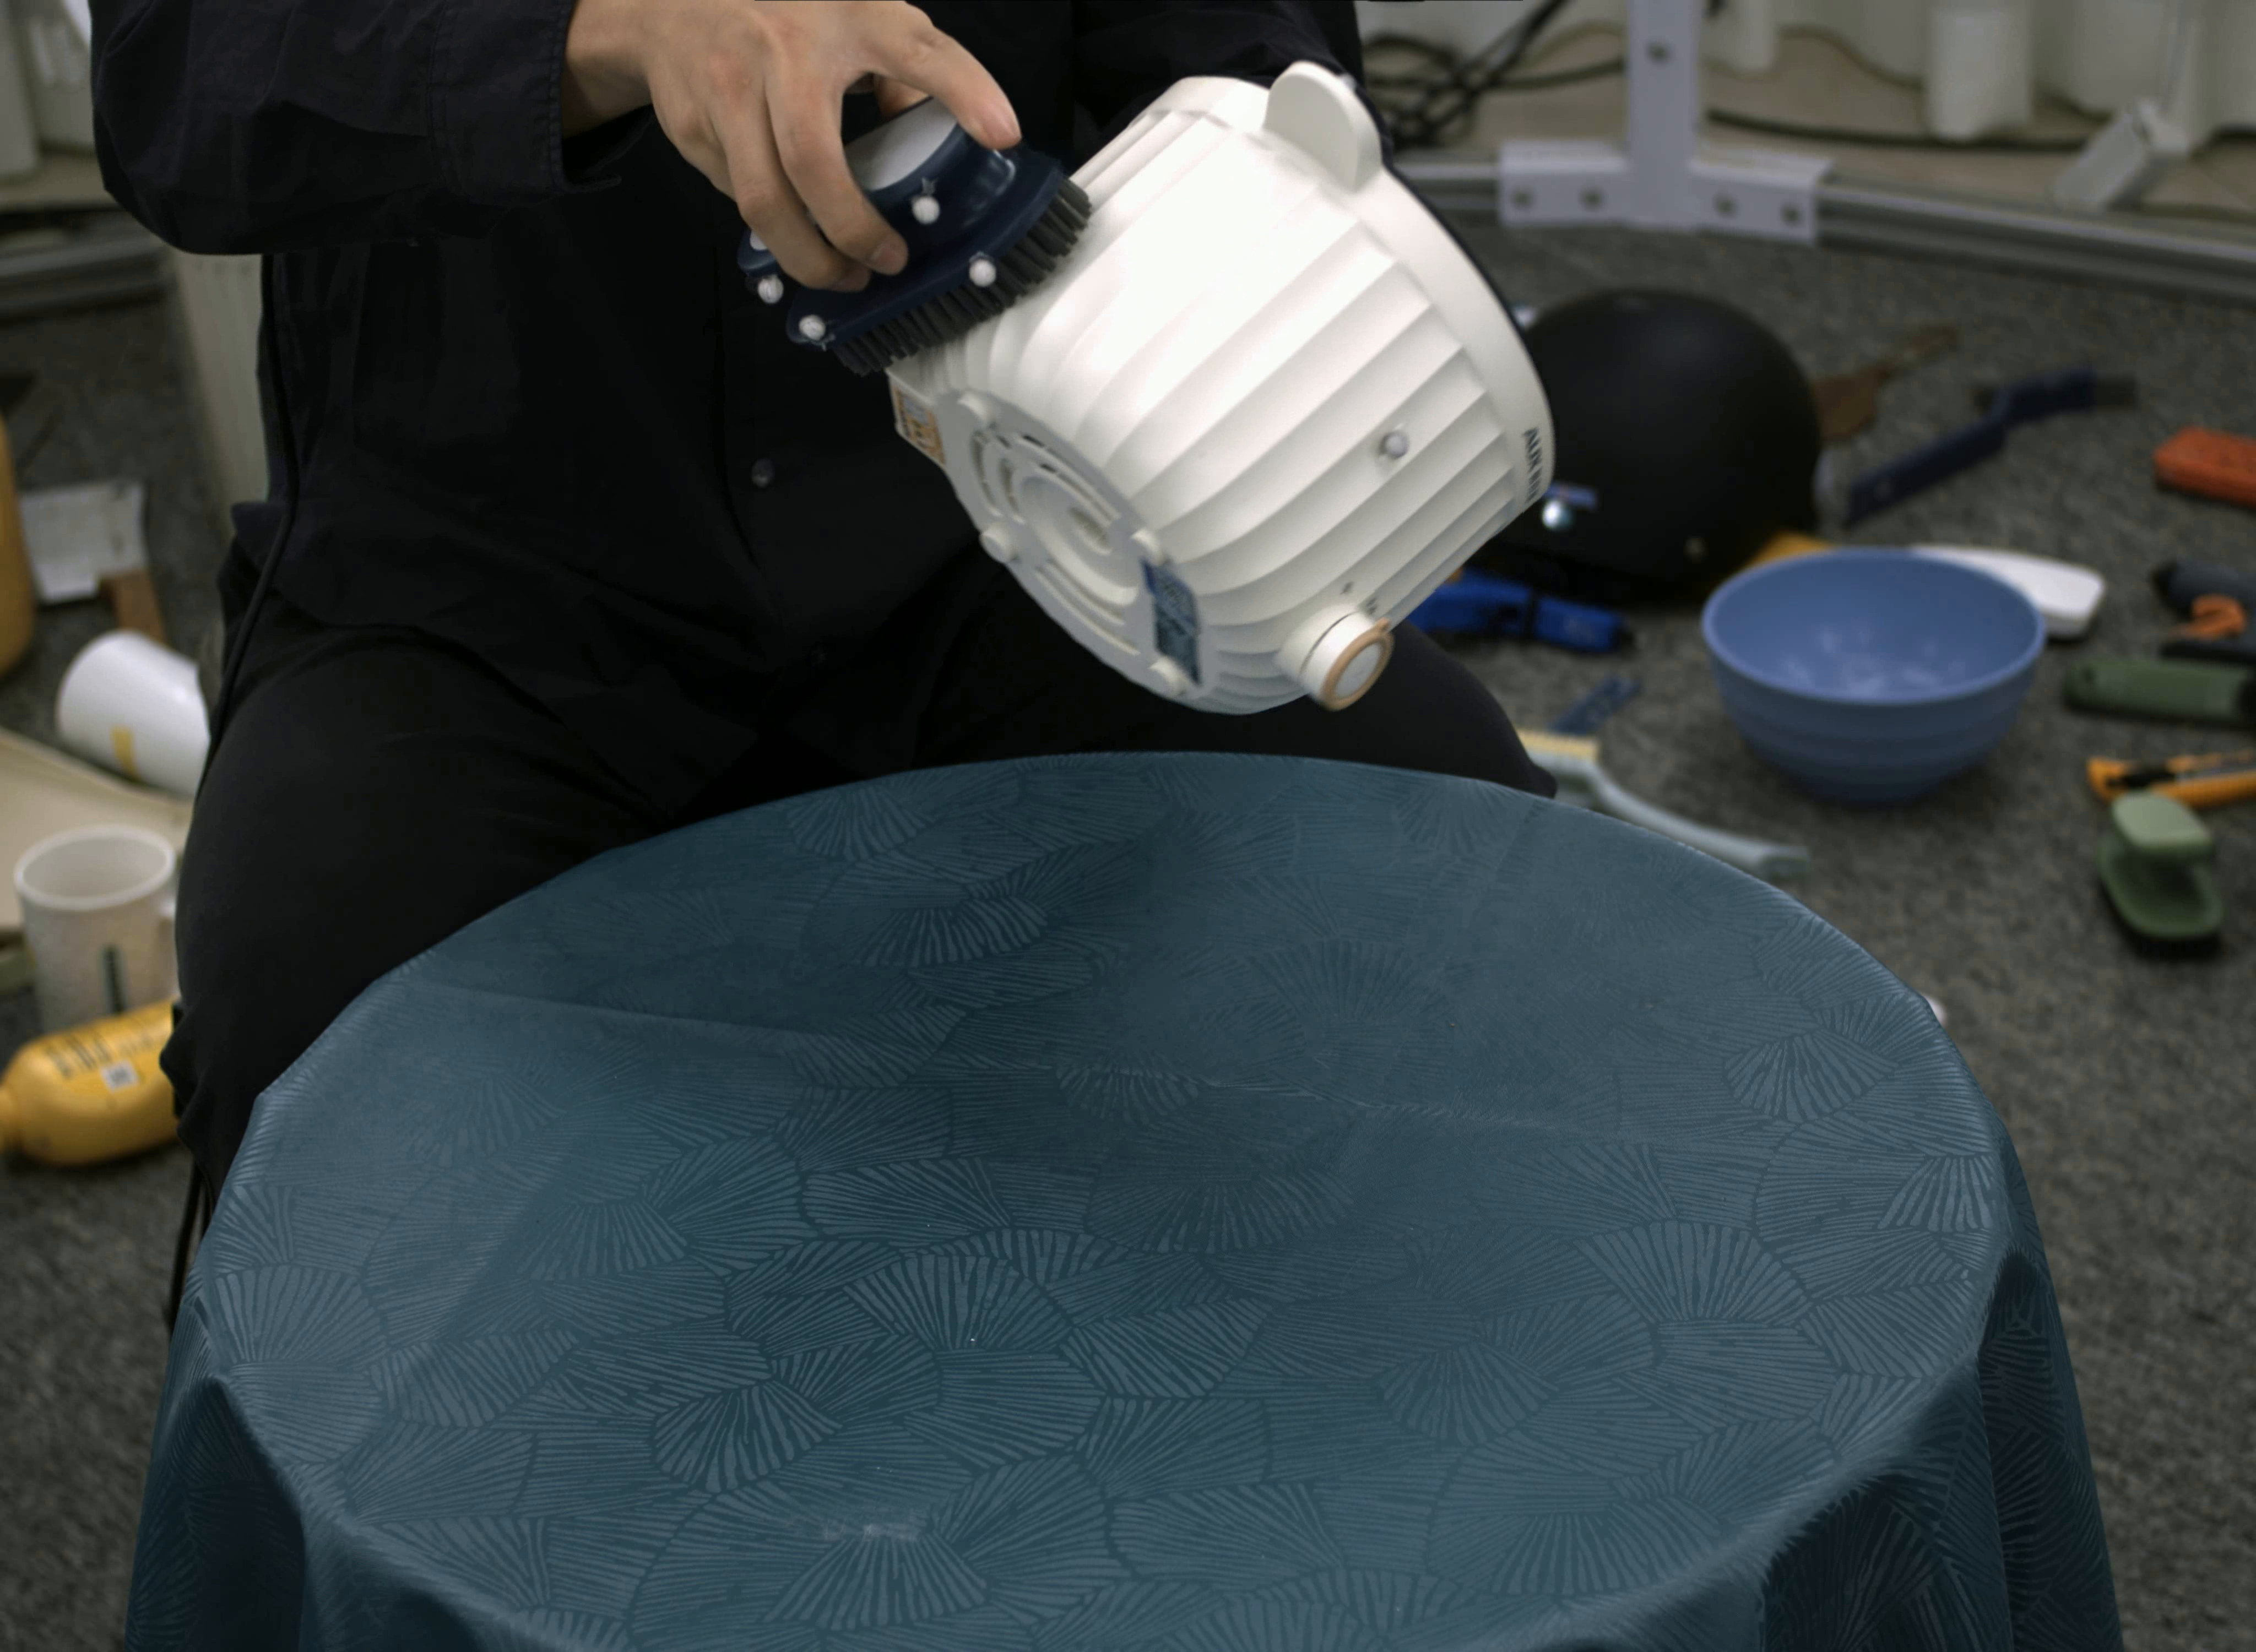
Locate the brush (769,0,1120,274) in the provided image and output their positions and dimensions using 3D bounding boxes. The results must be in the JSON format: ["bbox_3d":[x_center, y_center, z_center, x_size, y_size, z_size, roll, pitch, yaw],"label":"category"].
[{"bbox_3d":[-0.057,-0.220,1.805,0.120,0.061,0.069,-15,41,42],"label":"brush"}]

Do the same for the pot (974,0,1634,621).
[{"bbox_3d":[0.059,-0.160,1.853,0.191,0.237,0.144,37,69,22],"label":"pot"}]
